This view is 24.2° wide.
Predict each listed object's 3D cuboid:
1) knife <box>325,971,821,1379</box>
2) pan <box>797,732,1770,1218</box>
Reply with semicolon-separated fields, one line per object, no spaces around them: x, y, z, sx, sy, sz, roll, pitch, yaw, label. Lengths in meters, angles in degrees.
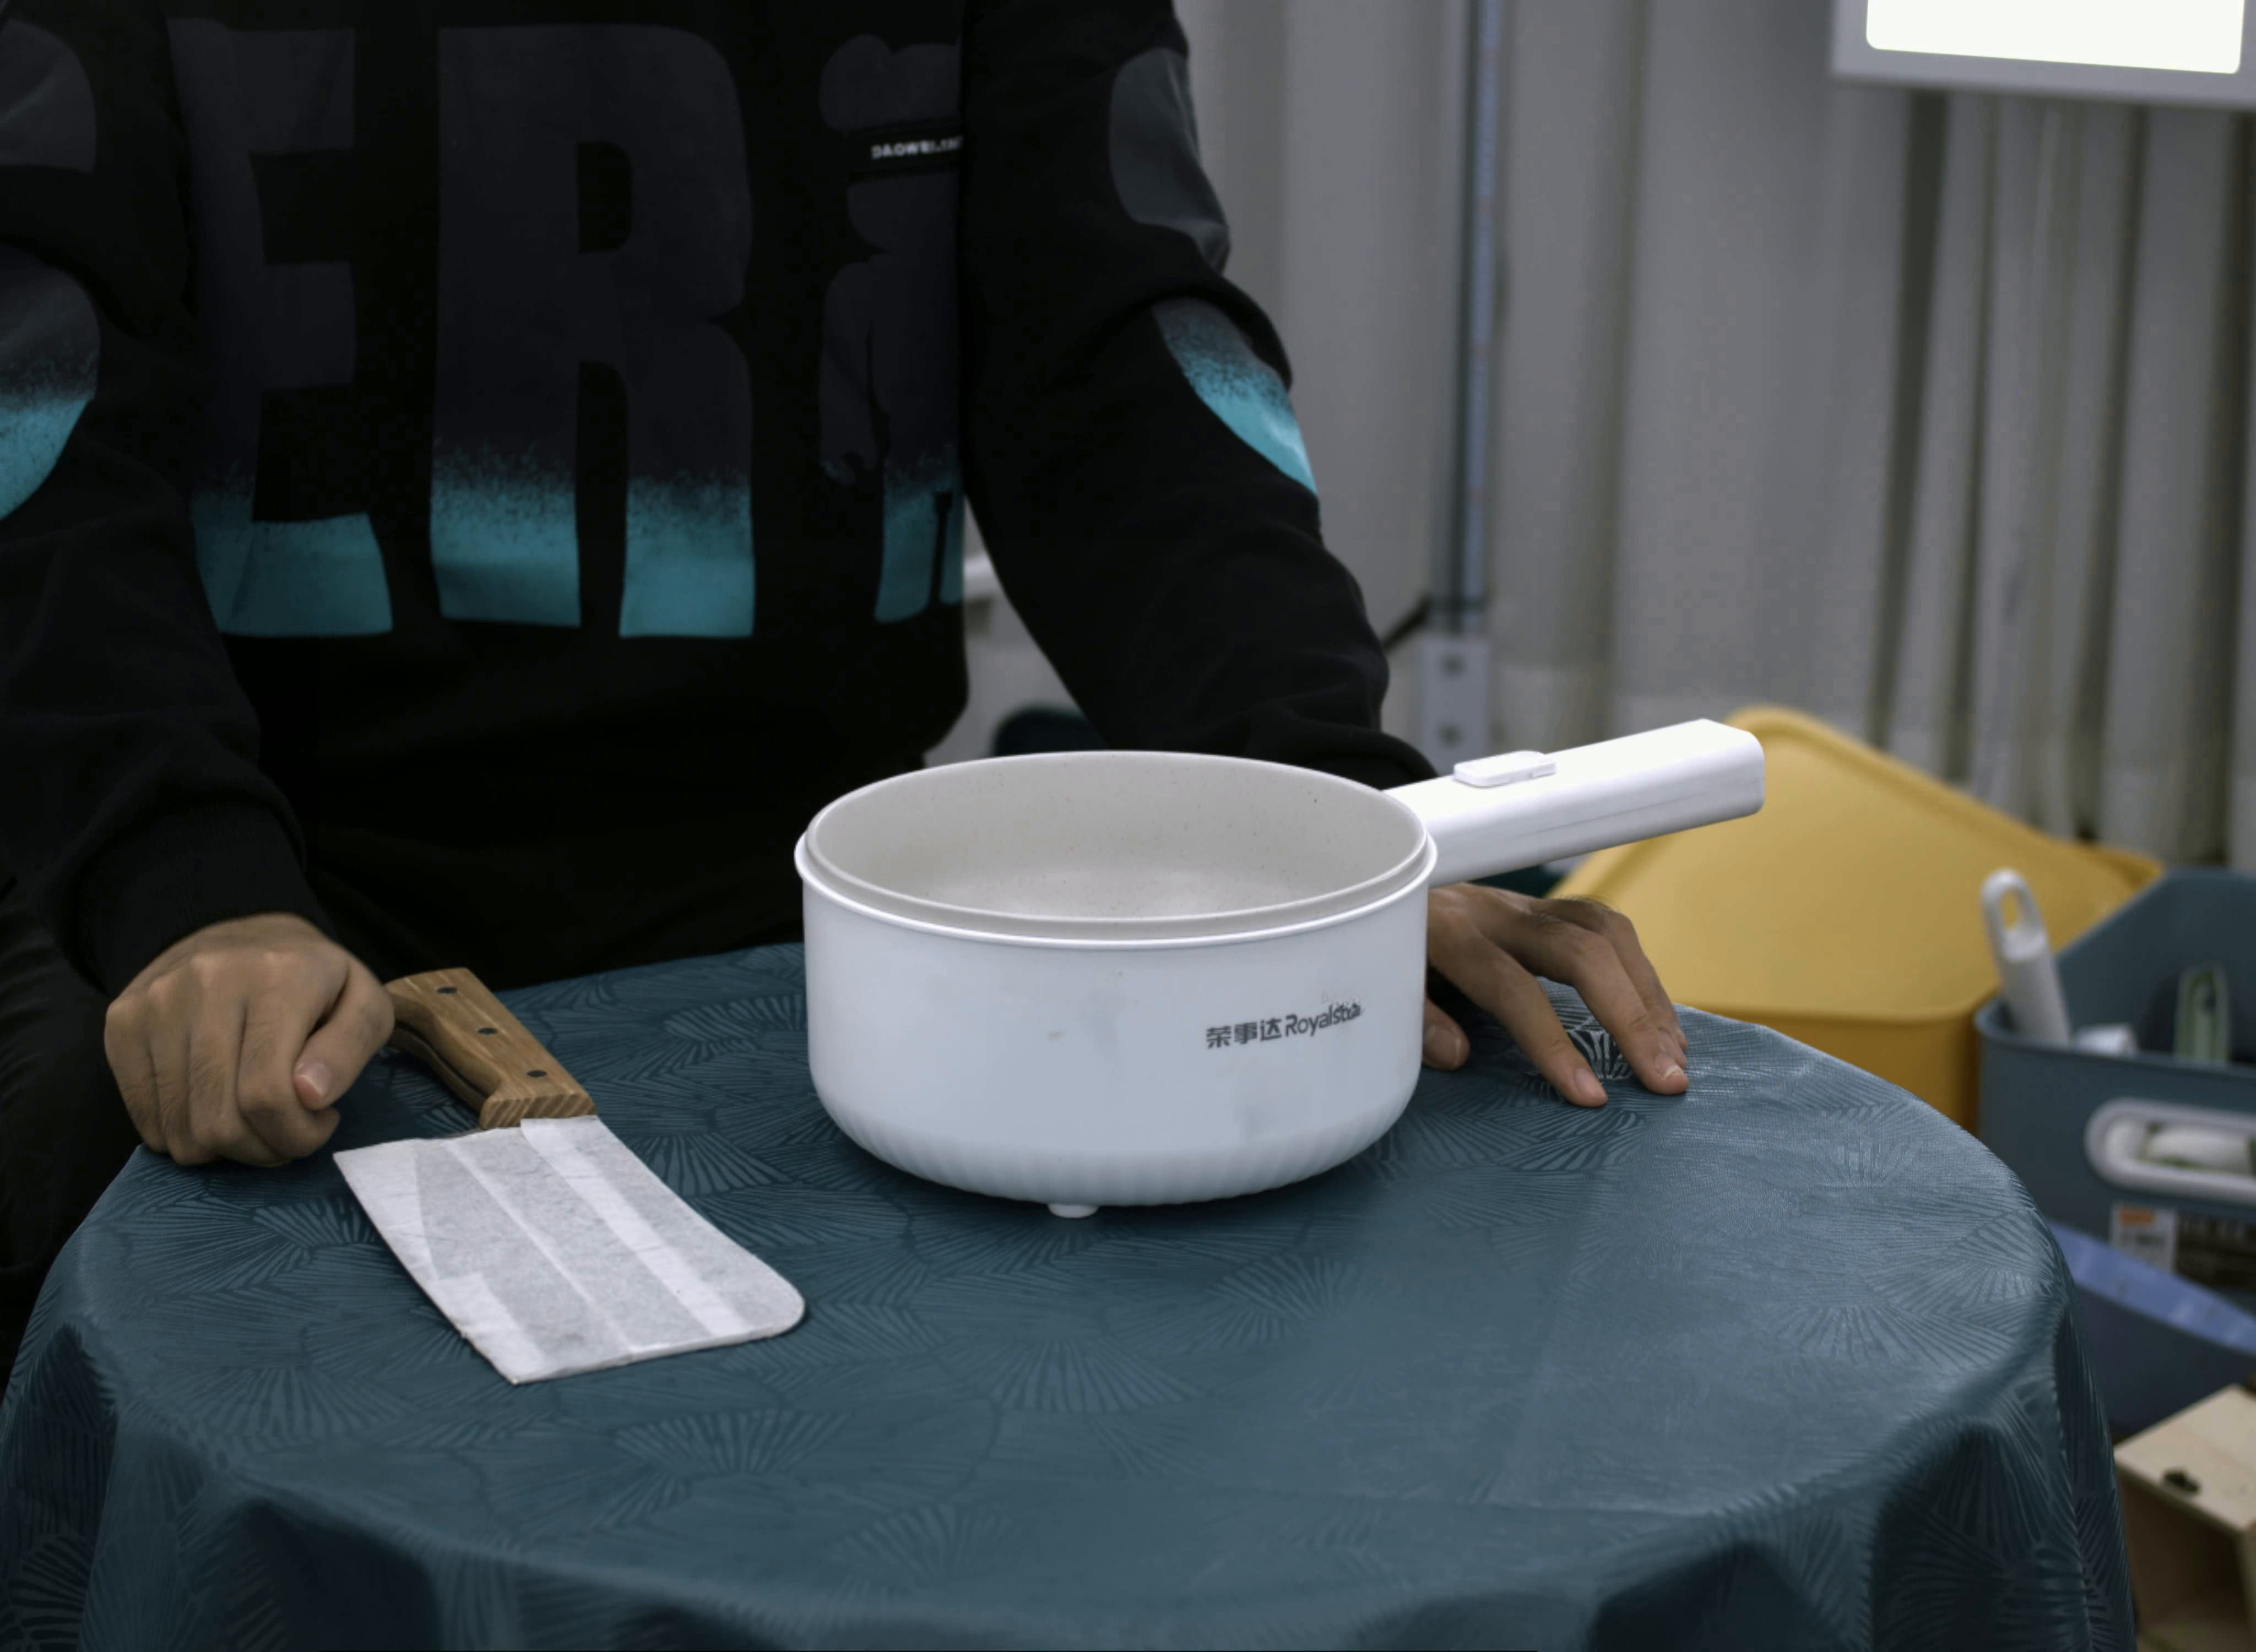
-0.185;0.104;1.614;0.114;0.022;0.311;-6;19;-20;knife
0.060;0.040;1.702;0.356;0.103;0.198;-10;17;-34;pan
